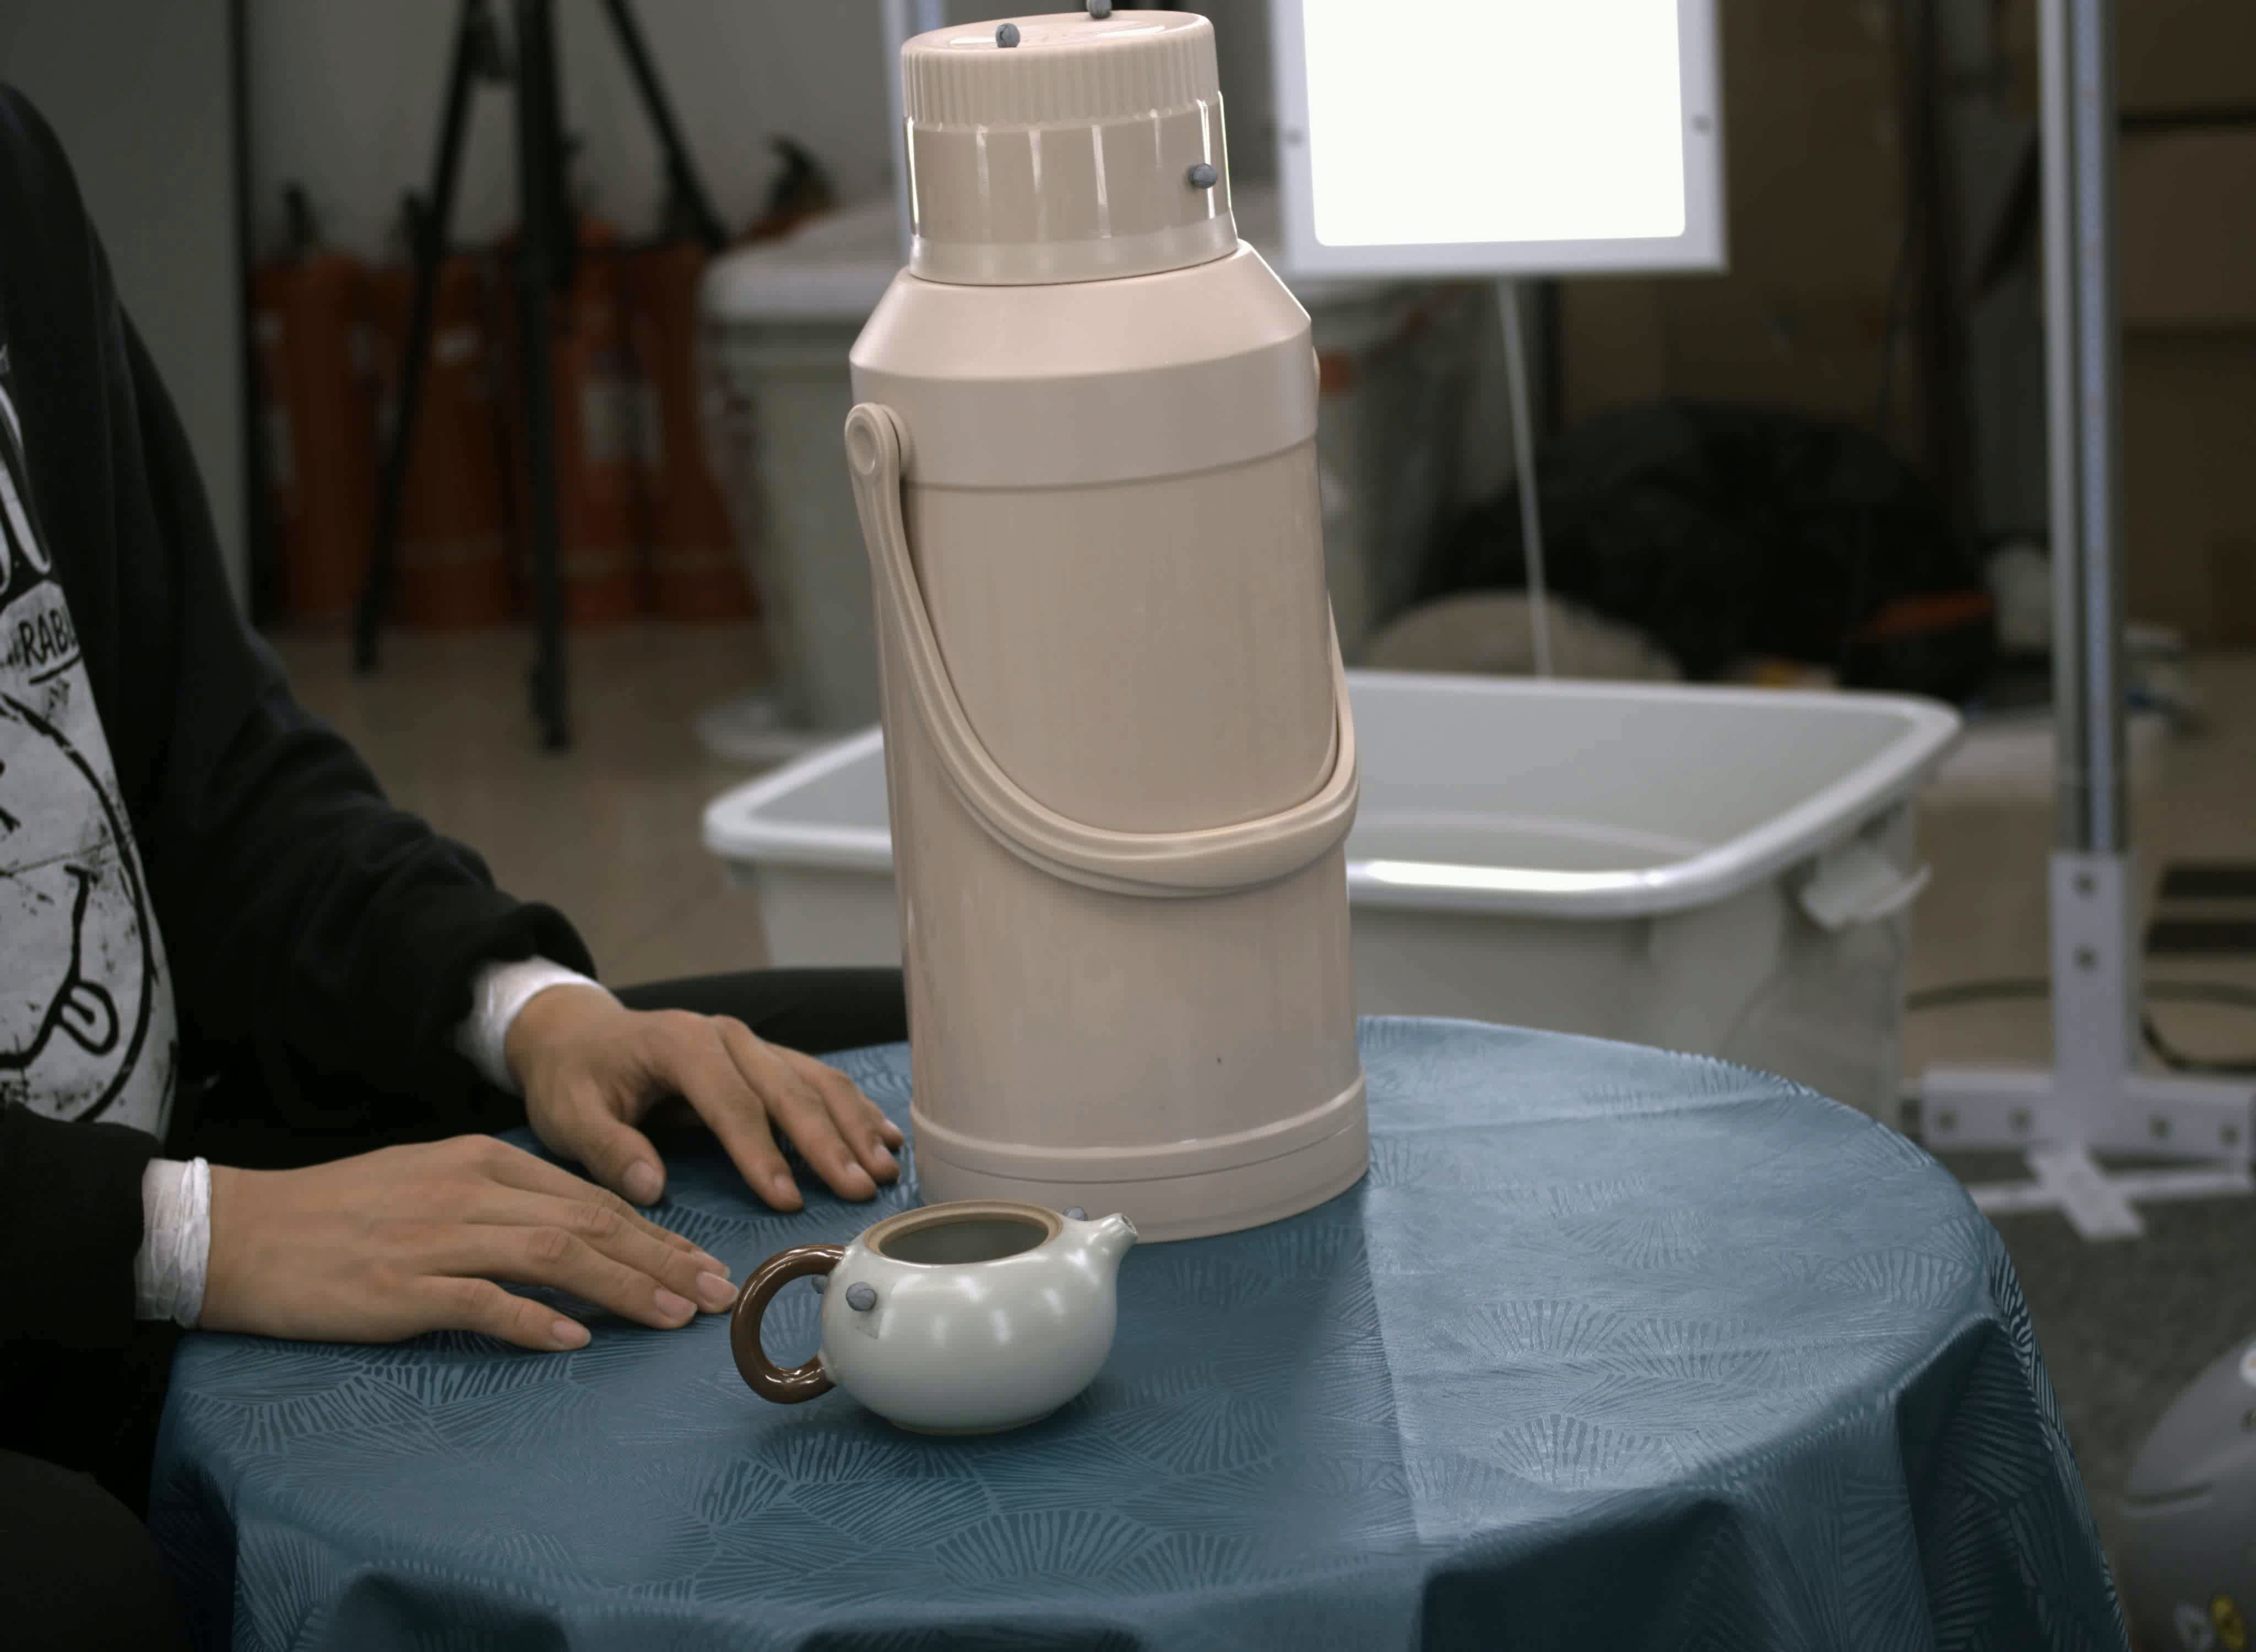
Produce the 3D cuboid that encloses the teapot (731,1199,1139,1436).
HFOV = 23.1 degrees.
[{"bbox_3d":[-0.058,0.152,1.696,0.127,0.060,0.092,-5,17,-5],"label":"teapot"}]

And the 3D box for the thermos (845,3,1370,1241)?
[{"bbox_3d":[-0.016,-0.073,1.884,0.171,0.408,0.211,-15,18,-31],"label":"thermos"}]
